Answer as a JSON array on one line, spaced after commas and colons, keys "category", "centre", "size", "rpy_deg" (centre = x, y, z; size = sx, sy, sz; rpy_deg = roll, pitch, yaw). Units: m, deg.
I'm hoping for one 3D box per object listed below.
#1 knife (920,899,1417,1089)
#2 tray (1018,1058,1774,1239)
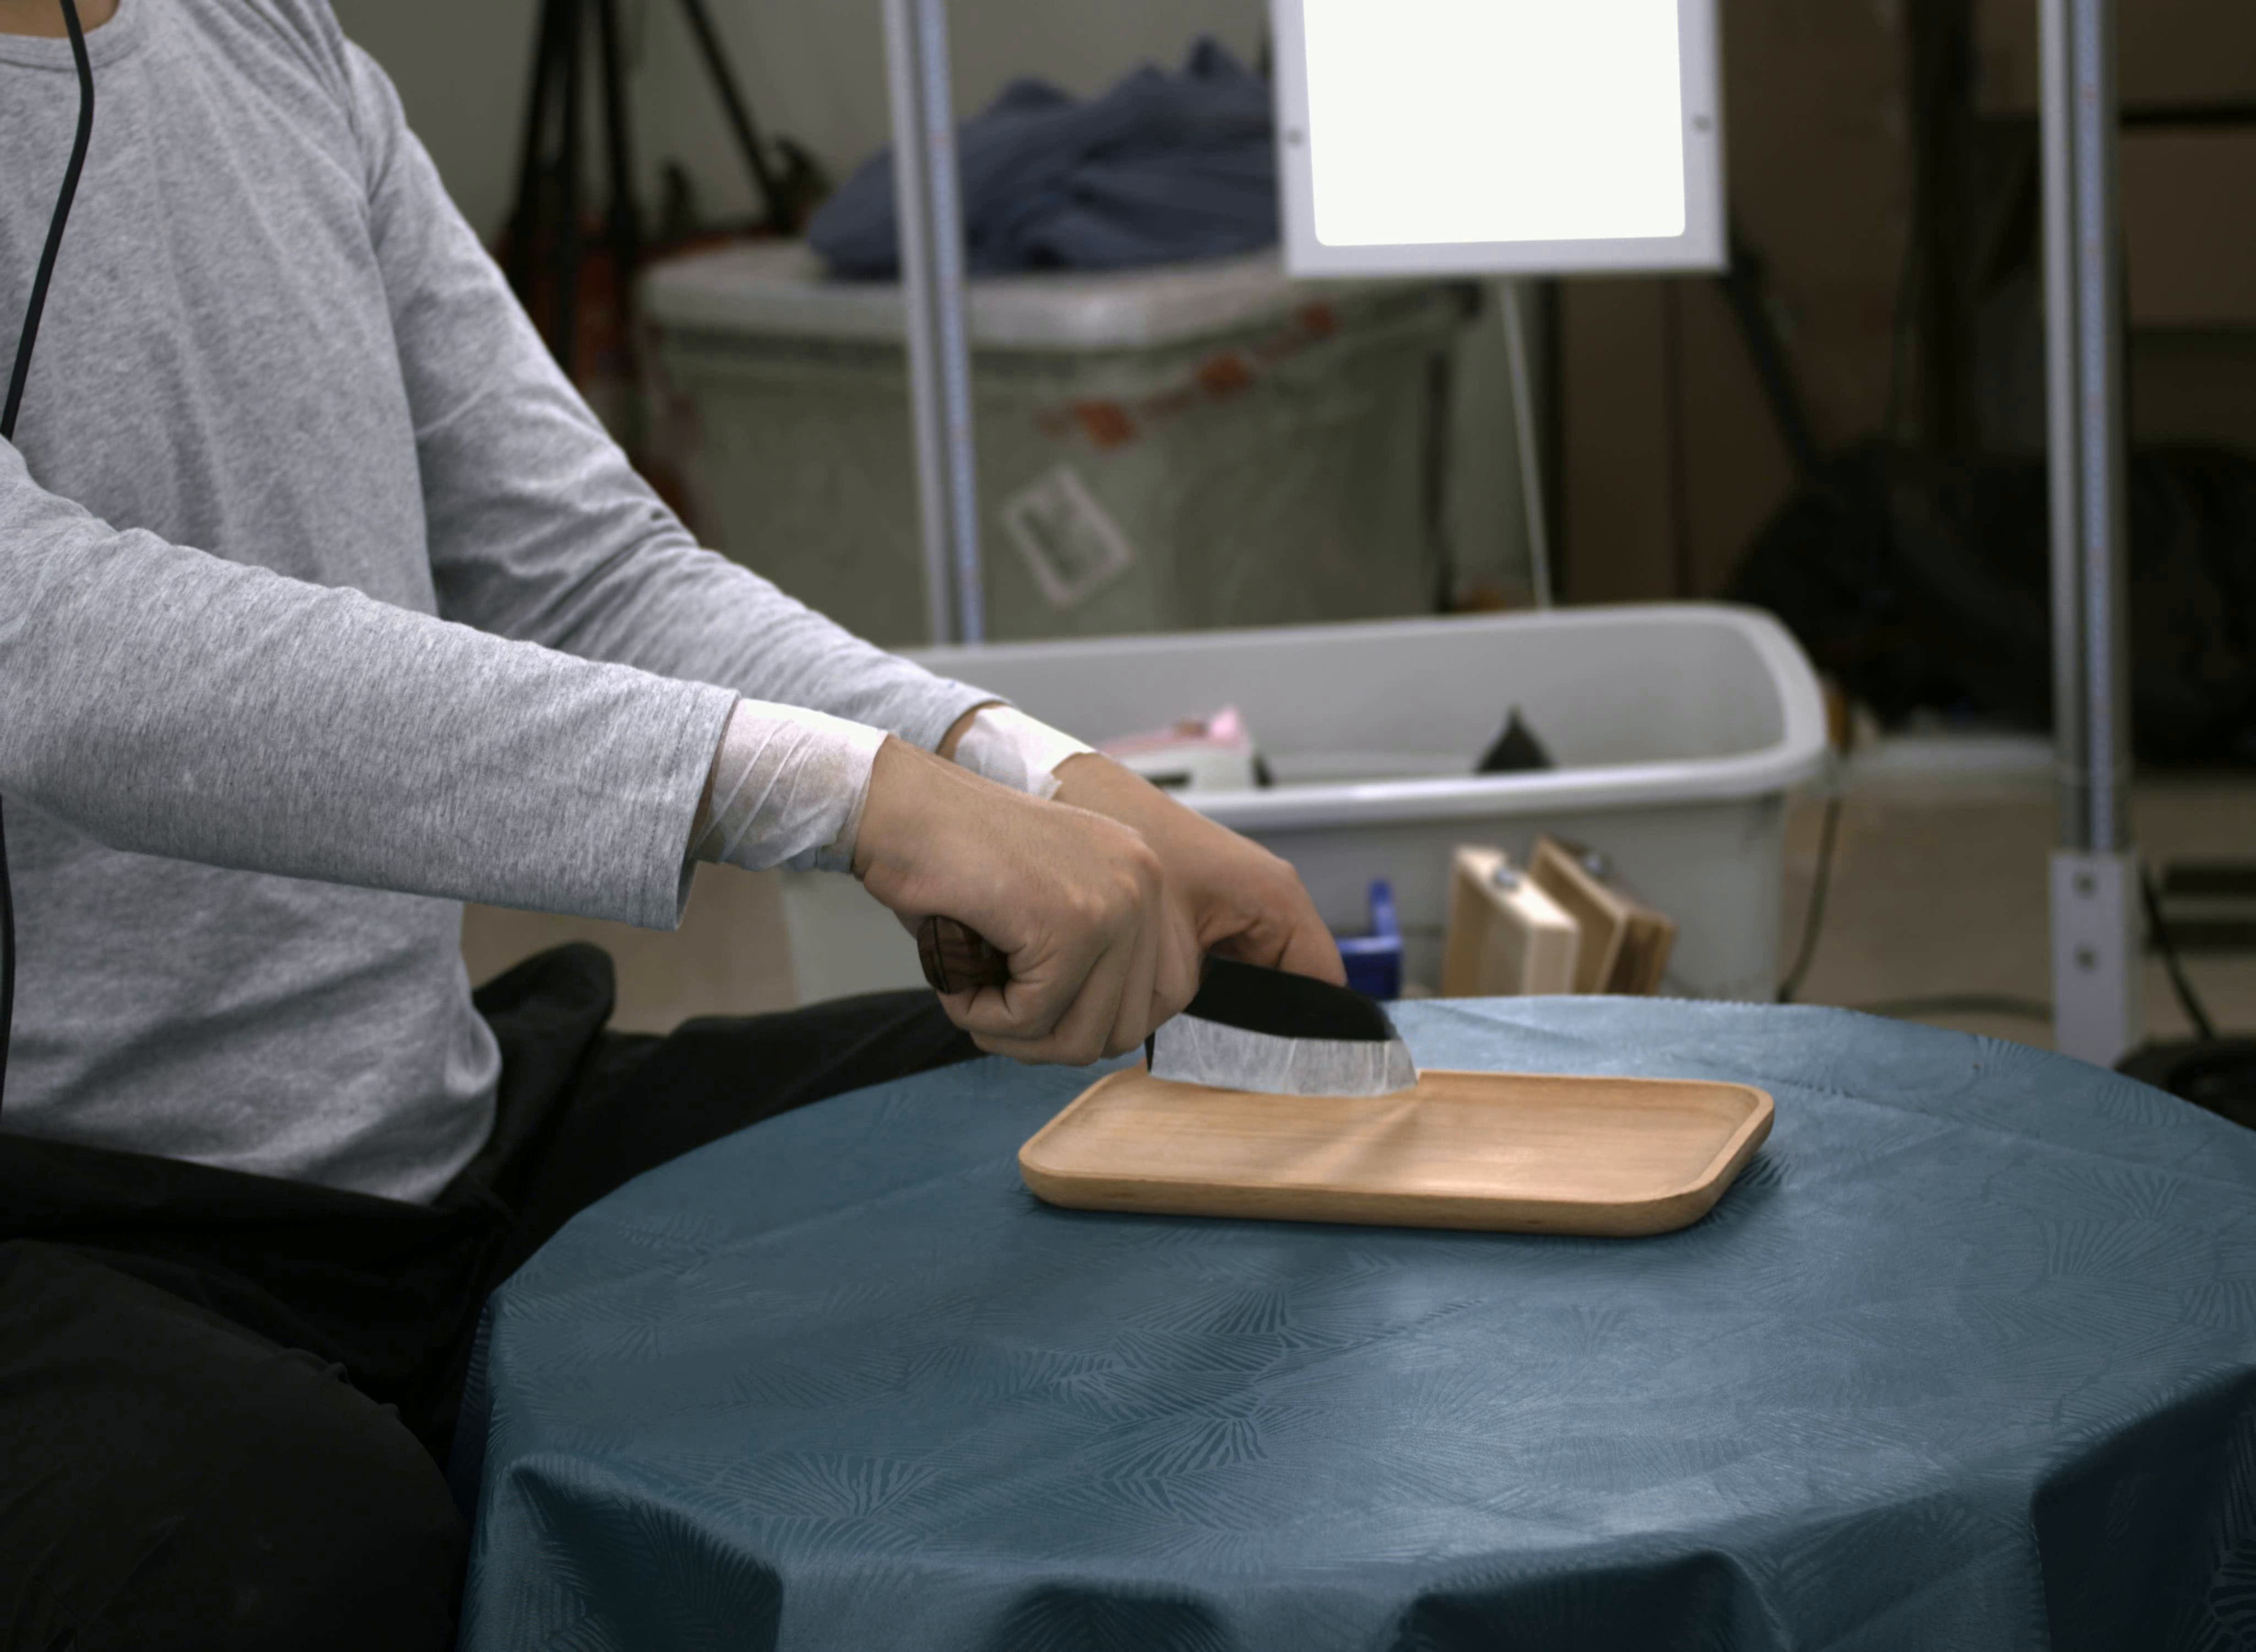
[{"category": "knife", "centre": [0.021, 0.058, 1.828], "size": [0.020, 0.050, 0.283], "rpy_deg": [2, -9, 36]}, {"category": "tray", "centre": [0.092, 0.110, 1.897], "size": [0.255, 0.023, 0.128], "rpy_deg": [1, 15, 26]}]
